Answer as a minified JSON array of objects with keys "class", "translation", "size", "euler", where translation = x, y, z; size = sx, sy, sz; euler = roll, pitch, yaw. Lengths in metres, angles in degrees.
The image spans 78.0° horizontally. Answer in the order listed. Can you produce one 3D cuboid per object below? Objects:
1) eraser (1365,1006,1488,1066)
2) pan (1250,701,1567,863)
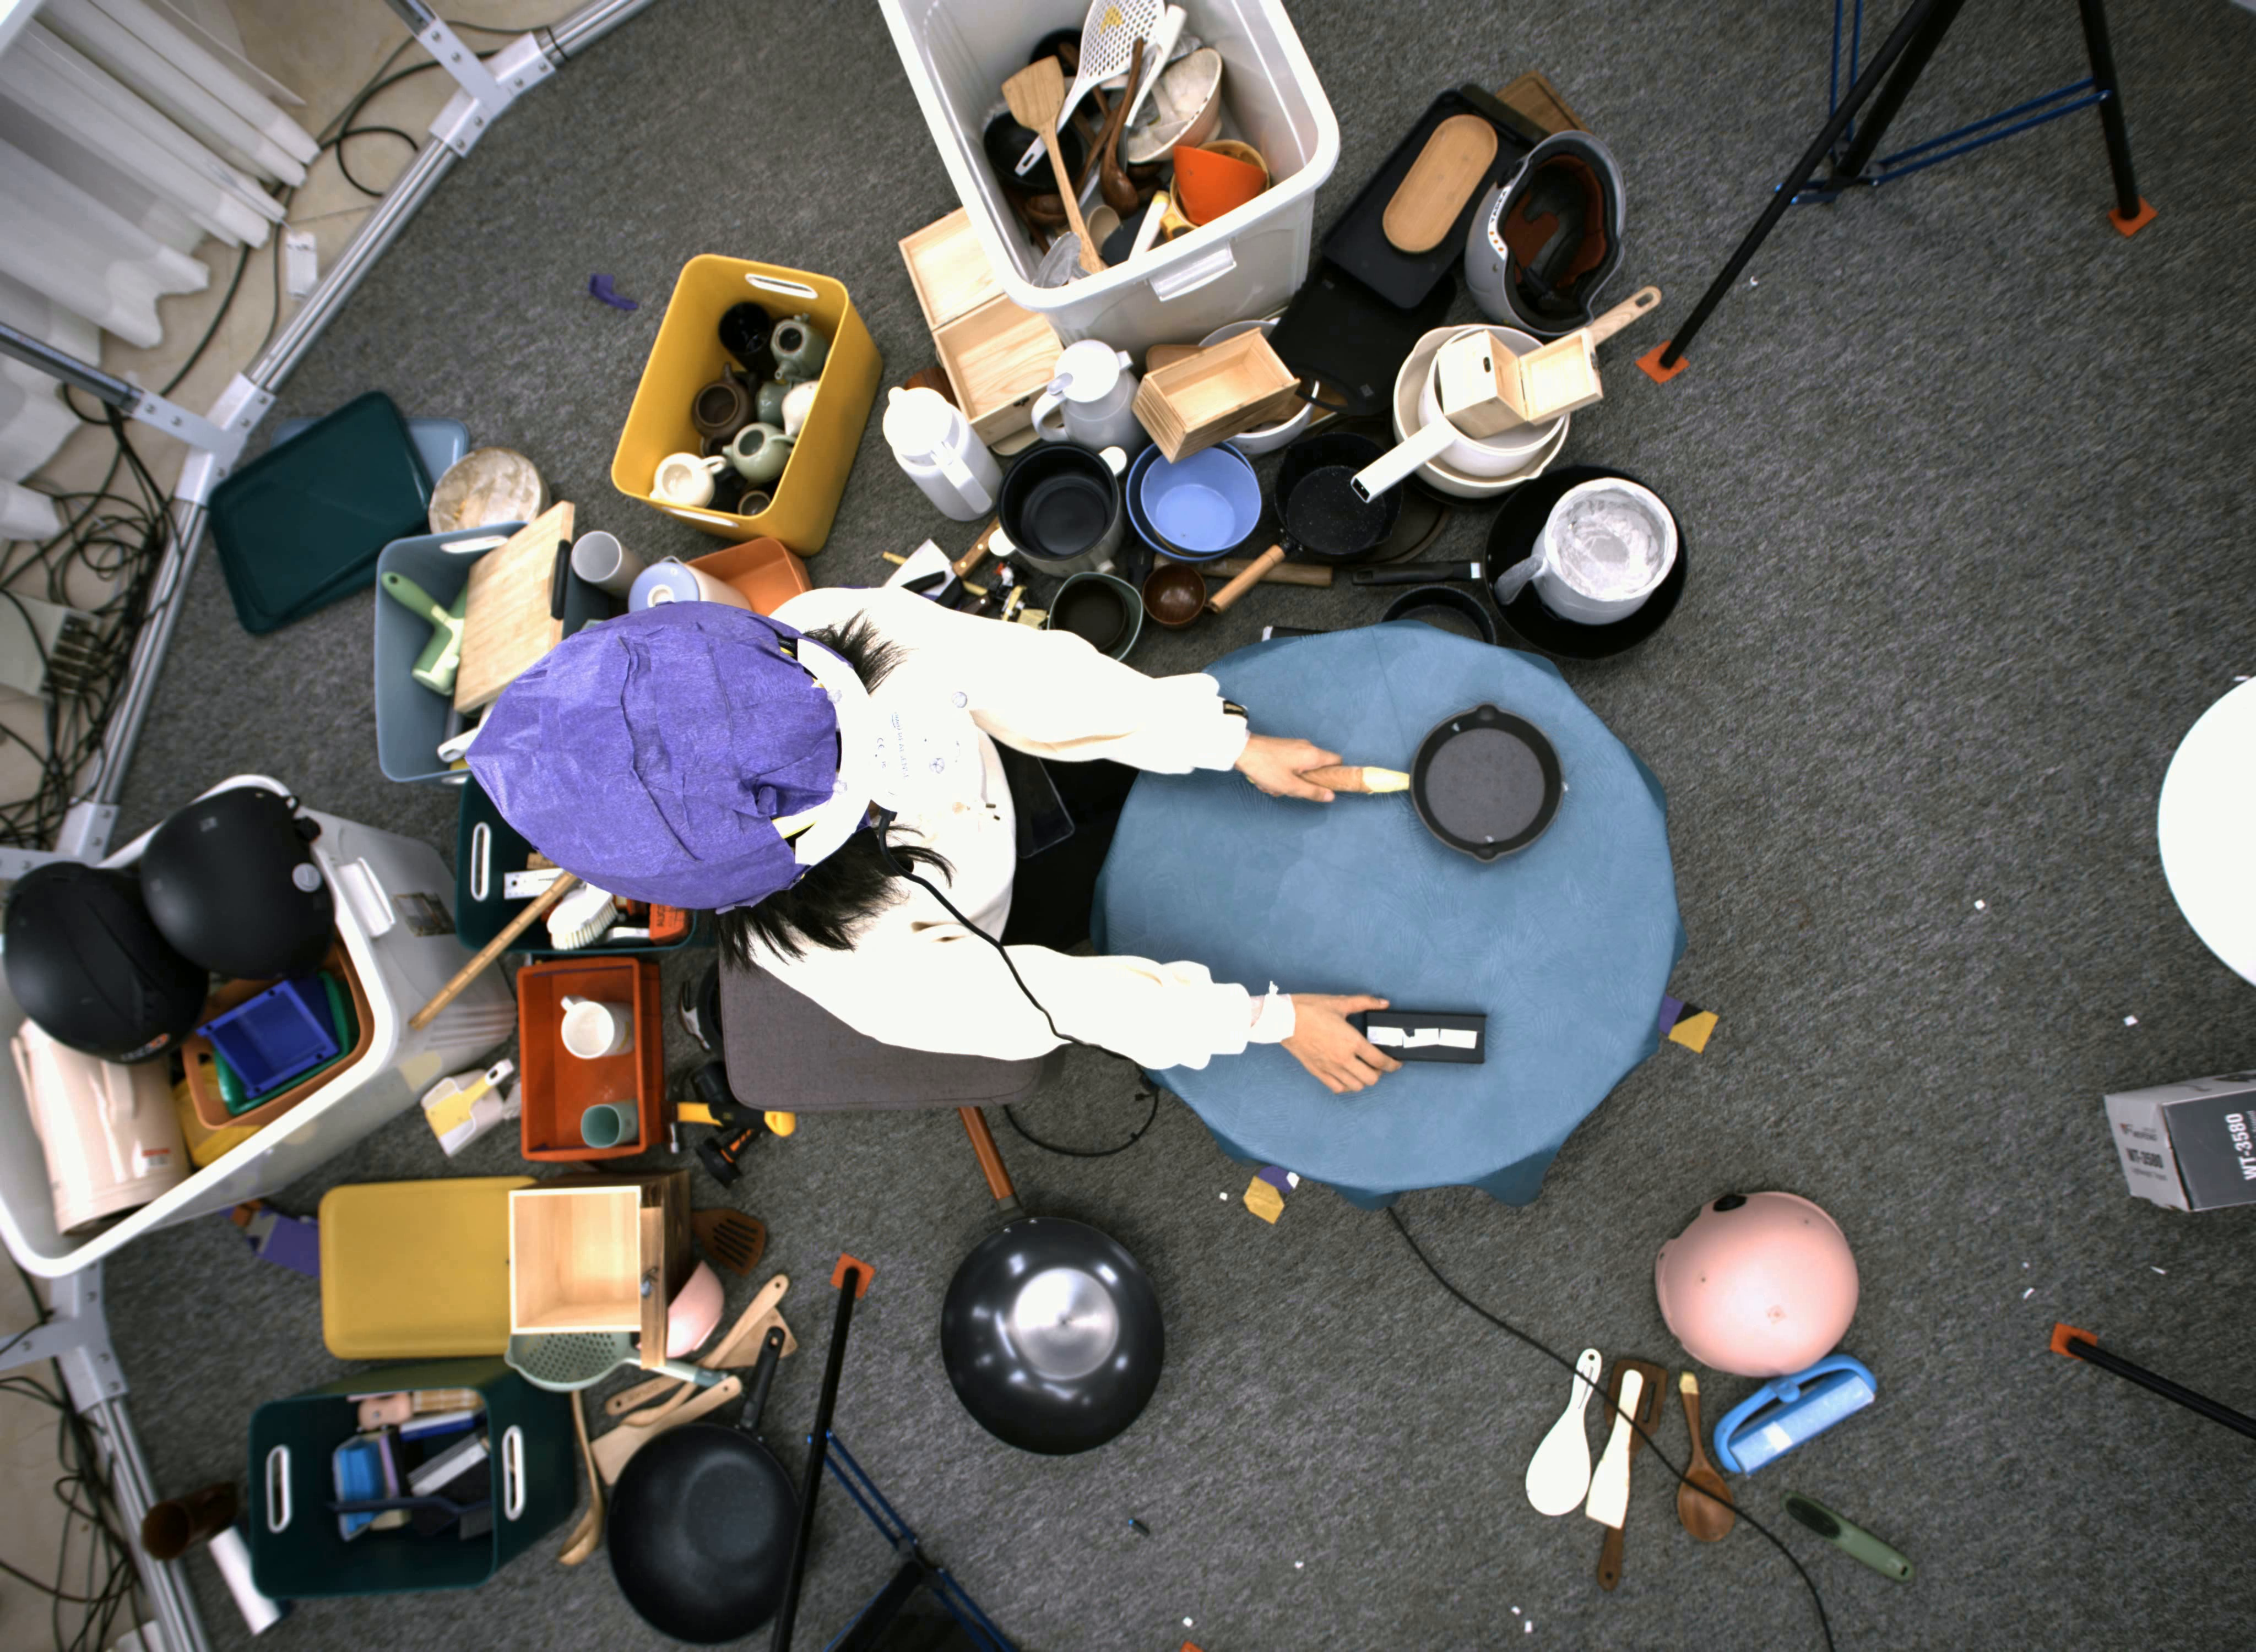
[{"class":"eraser","translation":[0.309,0.215,1.431],"size":[0.126,0.030,0.053],"euler":[2,87,12]},{"class":"pan","translation":[0.290,-0.051,1.436],"size":[0.325,0.049,0.168],"euler":[3,87,10]}]
